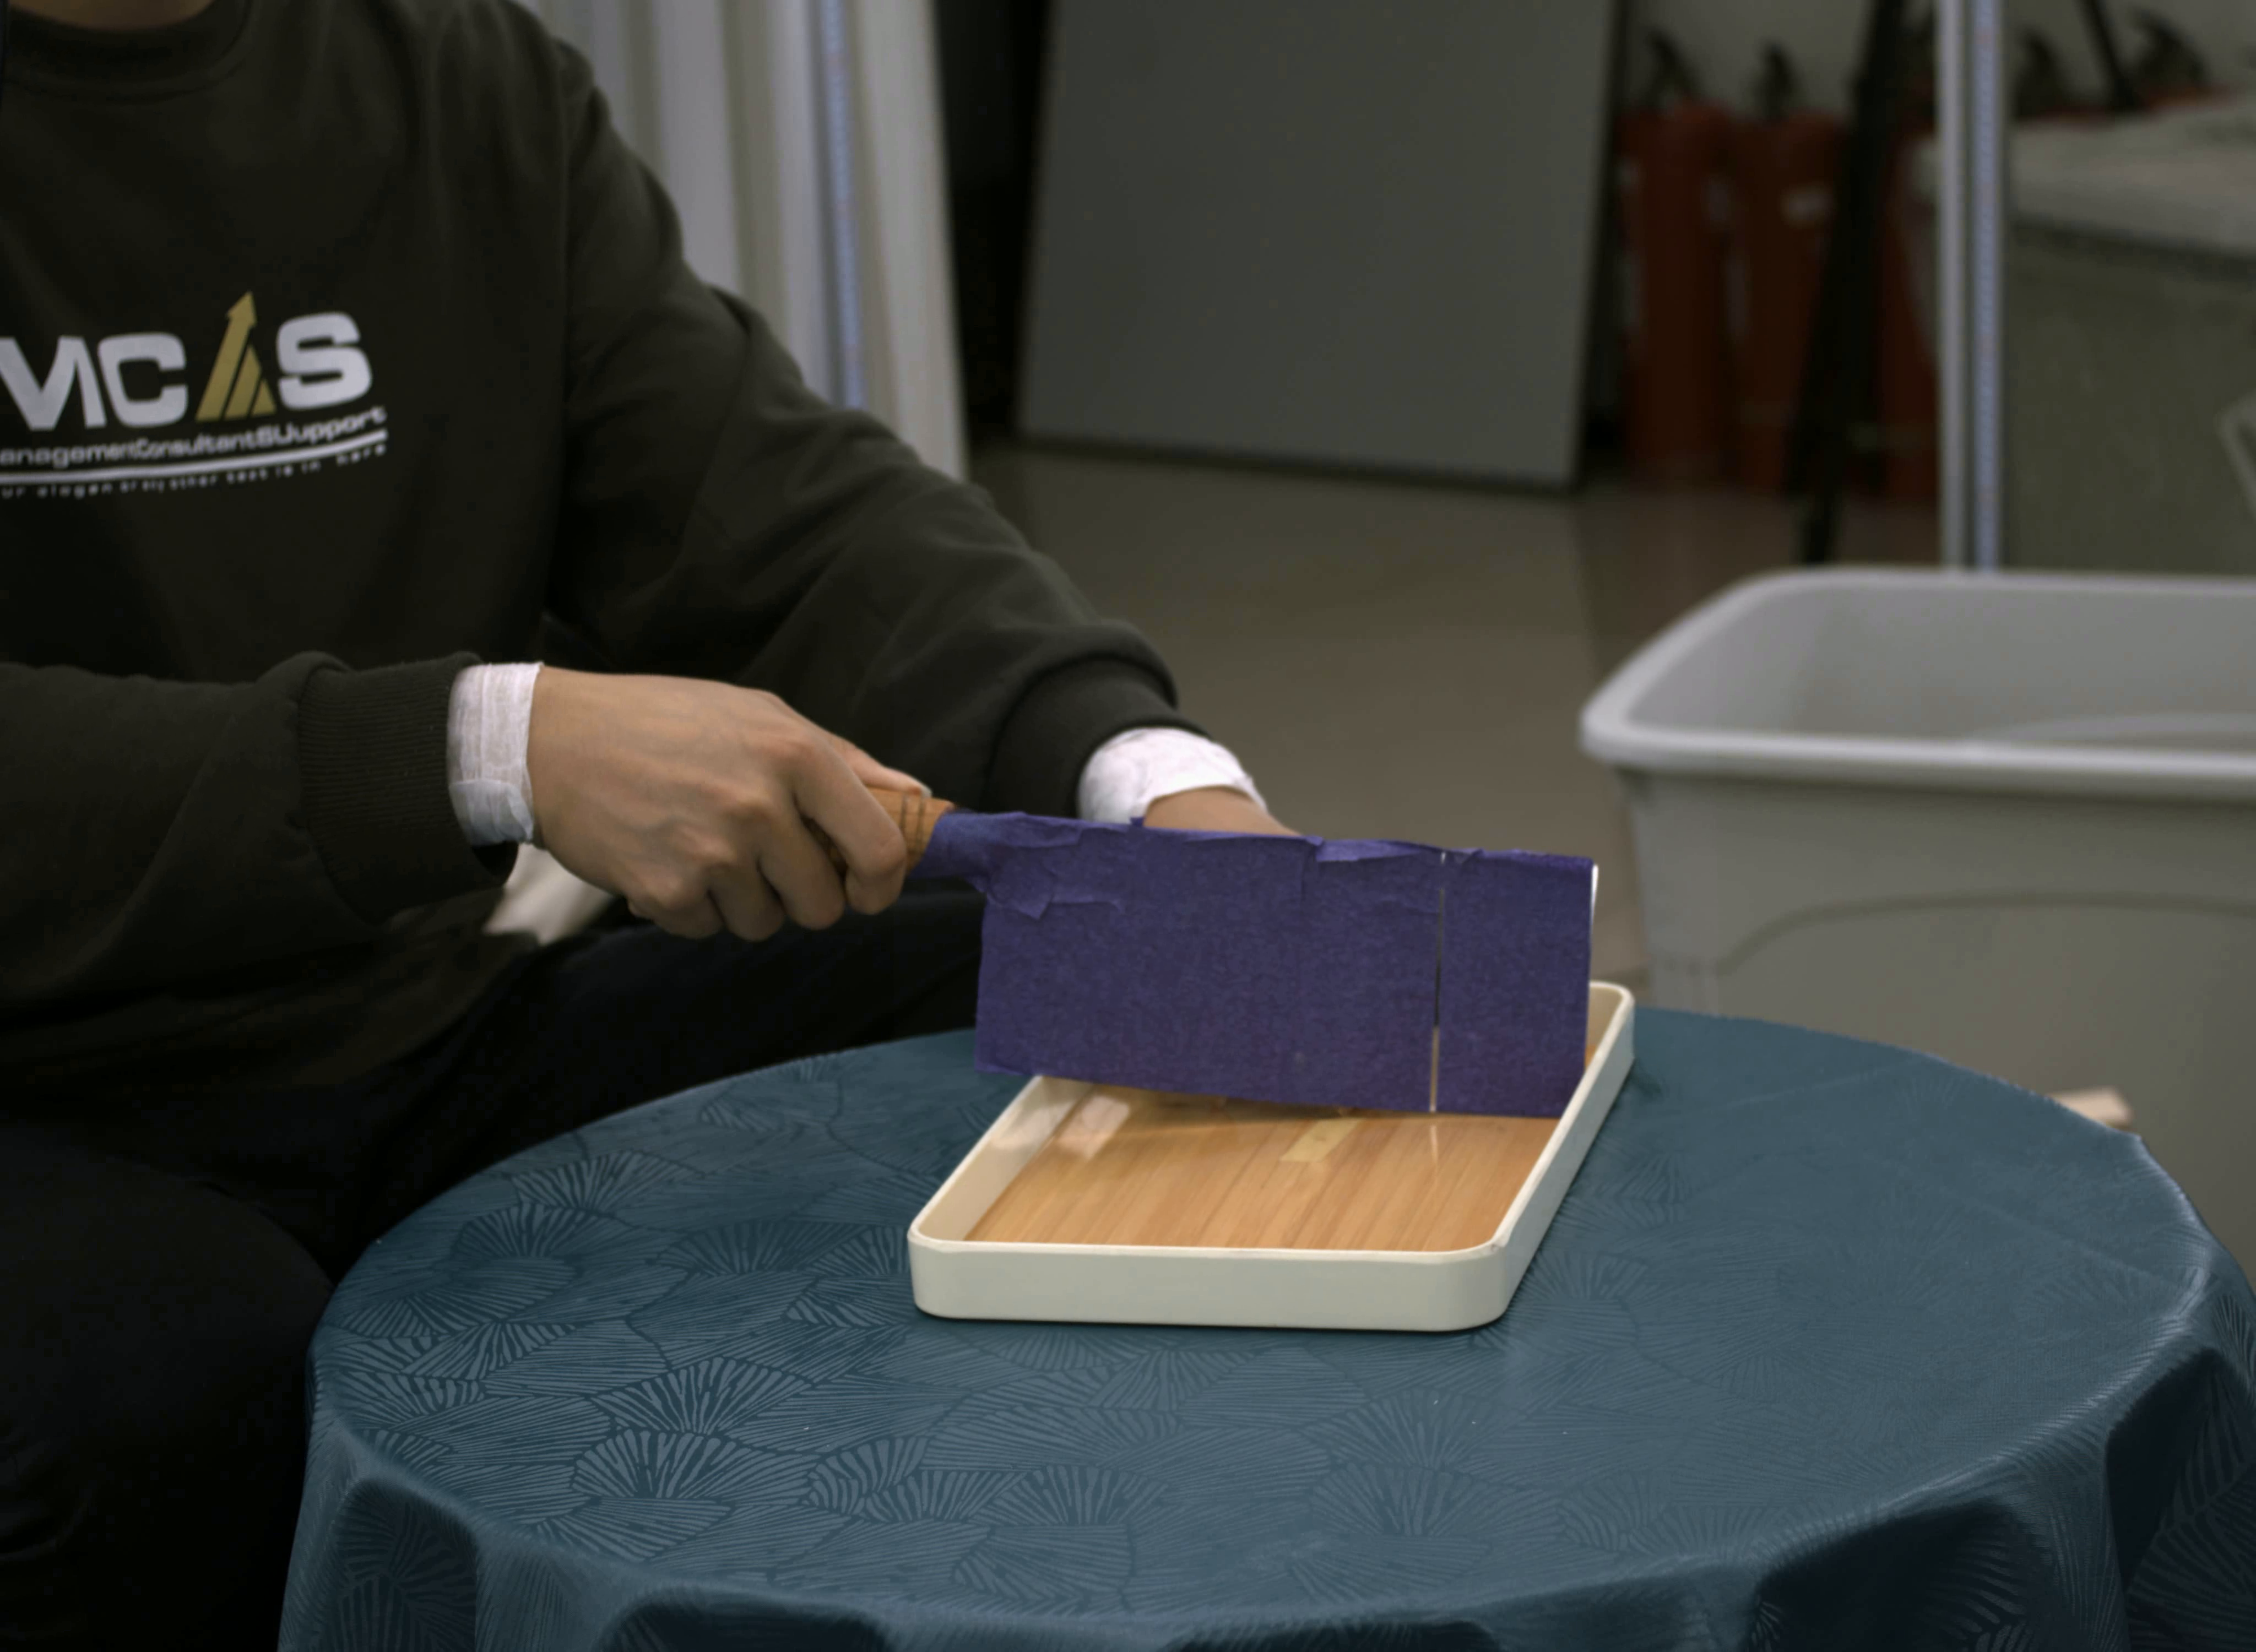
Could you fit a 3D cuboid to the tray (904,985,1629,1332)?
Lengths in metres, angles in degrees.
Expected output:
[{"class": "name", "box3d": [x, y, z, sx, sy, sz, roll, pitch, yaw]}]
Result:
[{"class": "tray", "box3d": [0.053, 0.104, 1.771, 0.191, 0.028, 0.298, 0, 14, 15]}]

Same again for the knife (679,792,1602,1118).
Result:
[{"class": "knife", "box3d": [0.003, 0.043, 1.807, 0.312, 0.105, 0.032, 4, 5, 7]}]
